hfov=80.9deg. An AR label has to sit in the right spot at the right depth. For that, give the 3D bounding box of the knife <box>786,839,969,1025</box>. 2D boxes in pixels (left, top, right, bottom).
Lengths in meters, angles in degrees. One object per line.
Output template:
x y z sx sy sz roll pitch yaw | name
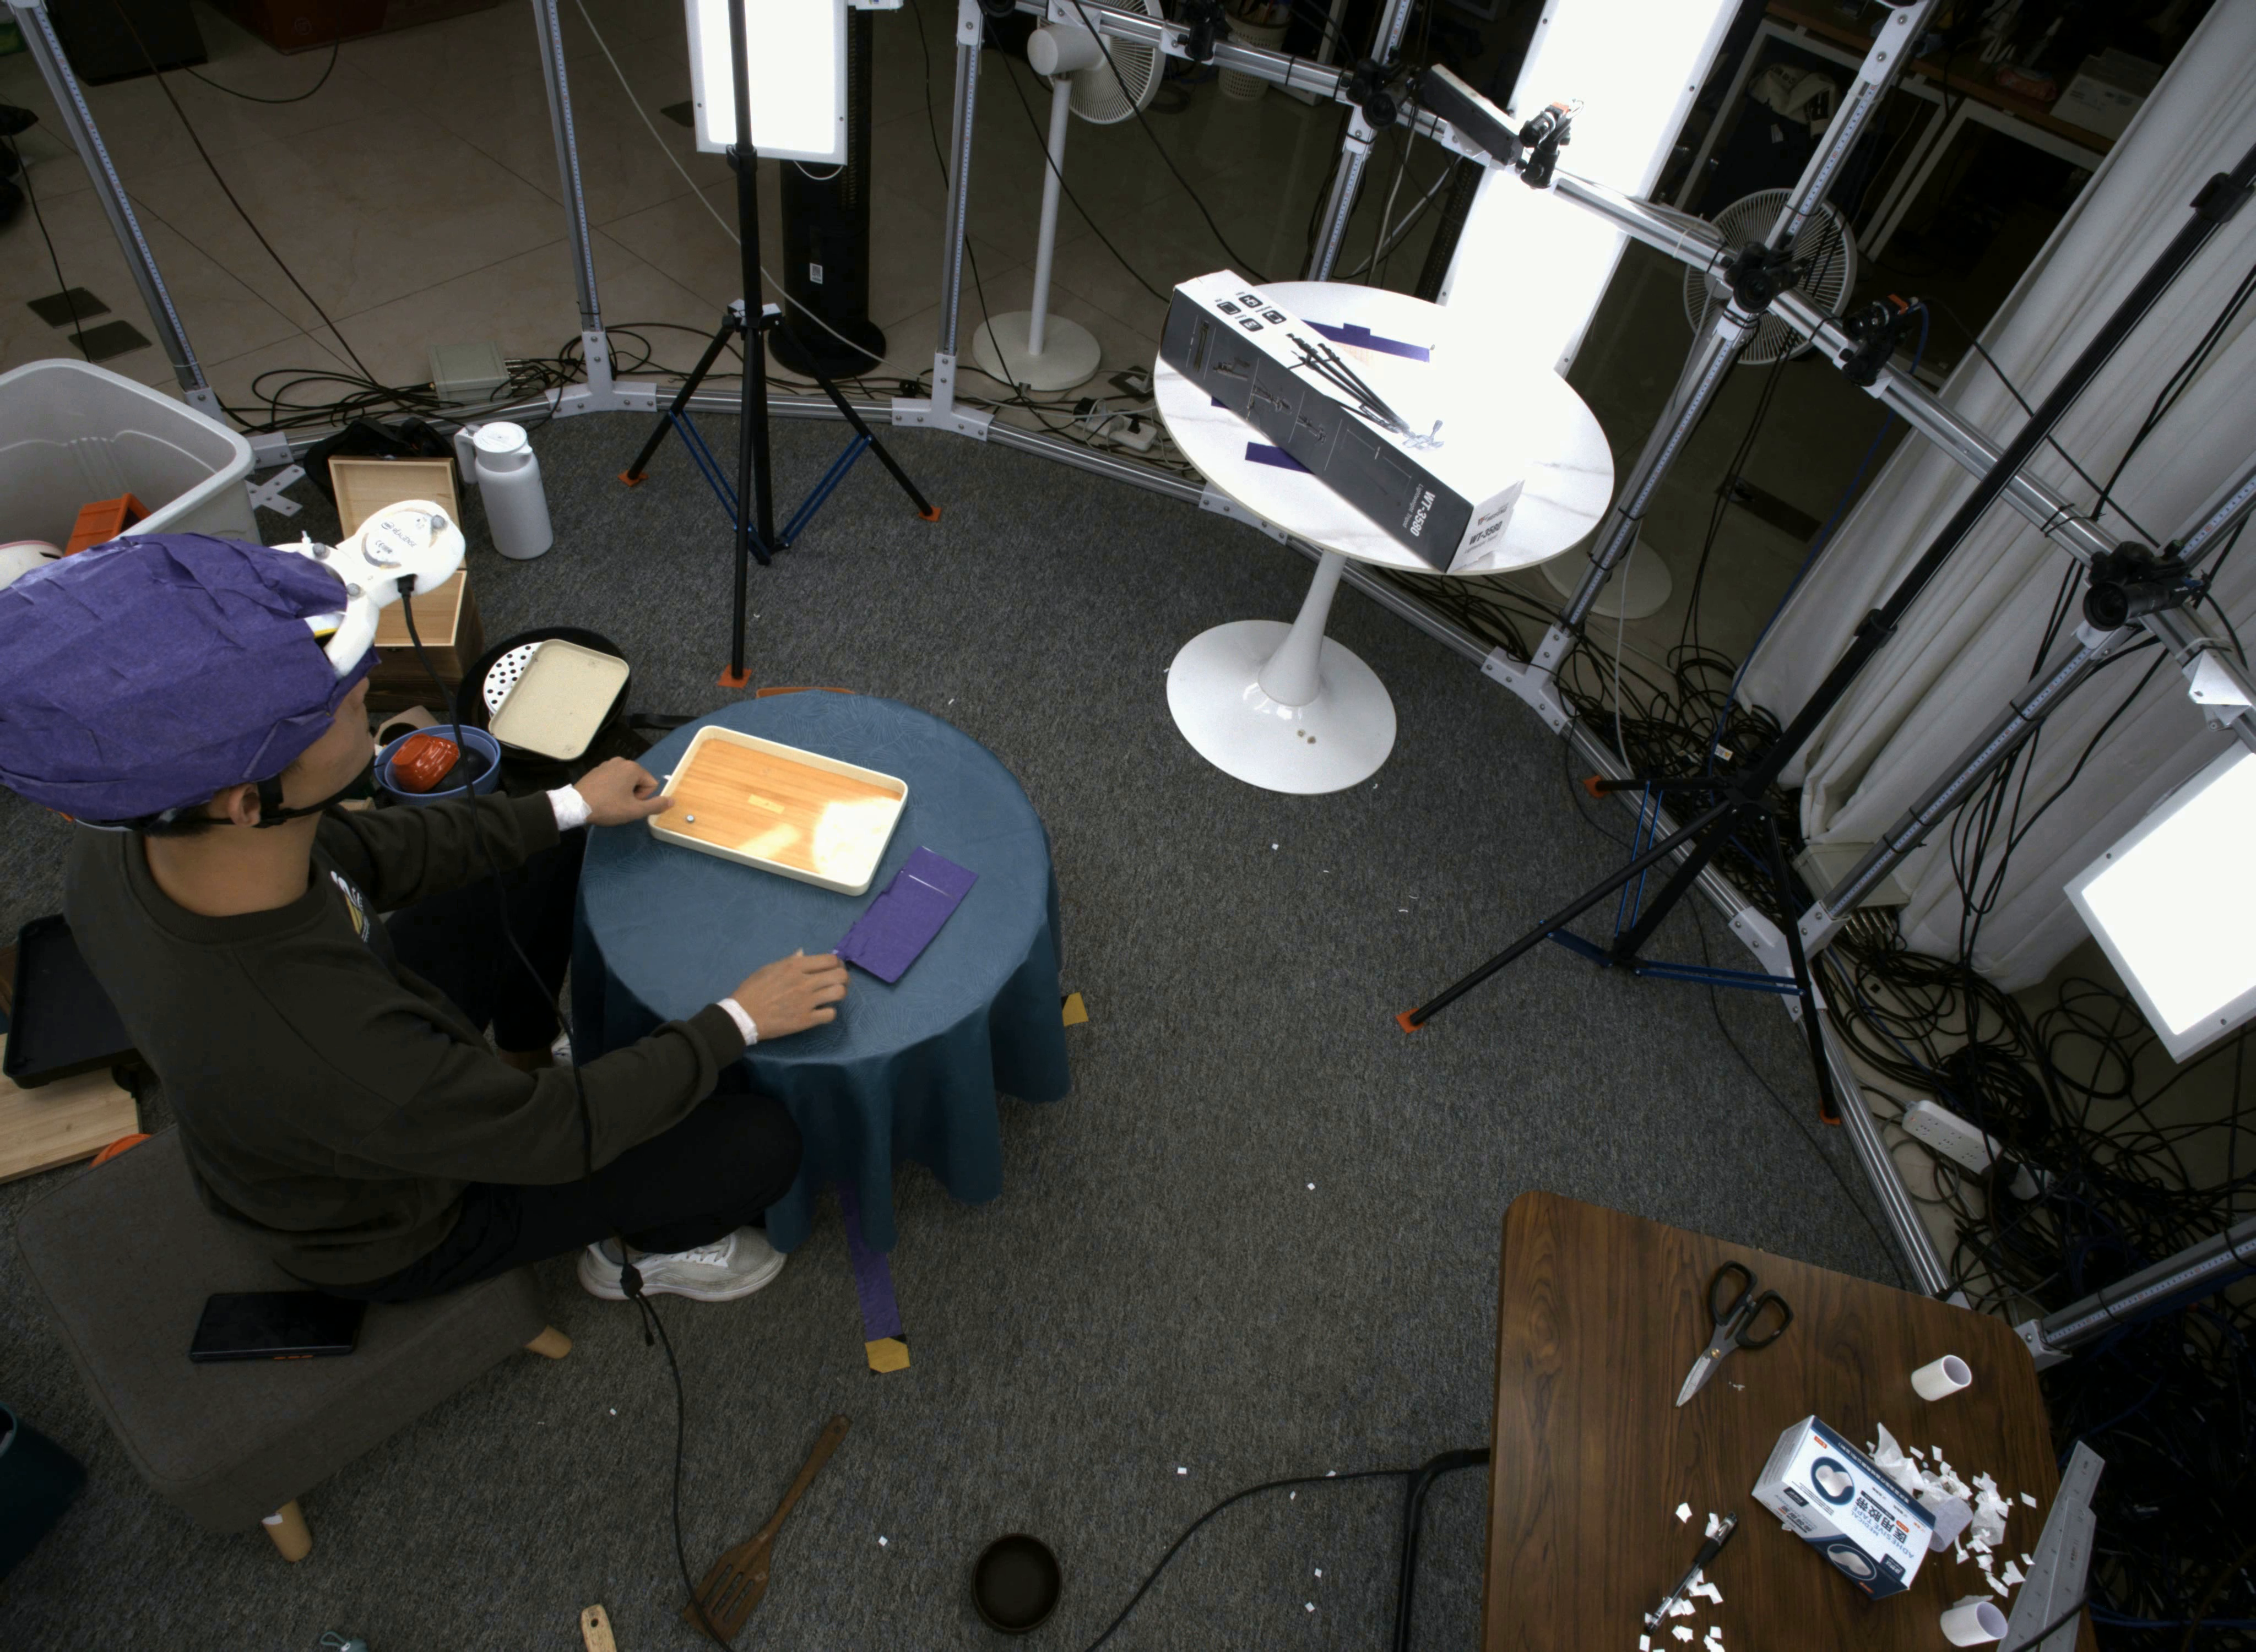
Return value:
-0.307 0.137 1.646 0.102 0.033 0.313 27 52 7 | knife

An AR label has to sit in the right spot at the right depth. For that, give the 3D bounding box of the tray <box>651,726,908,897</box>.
-0.461 -0.024 1.726 0.298 0.028 0.189 16 52 -2 | tray
